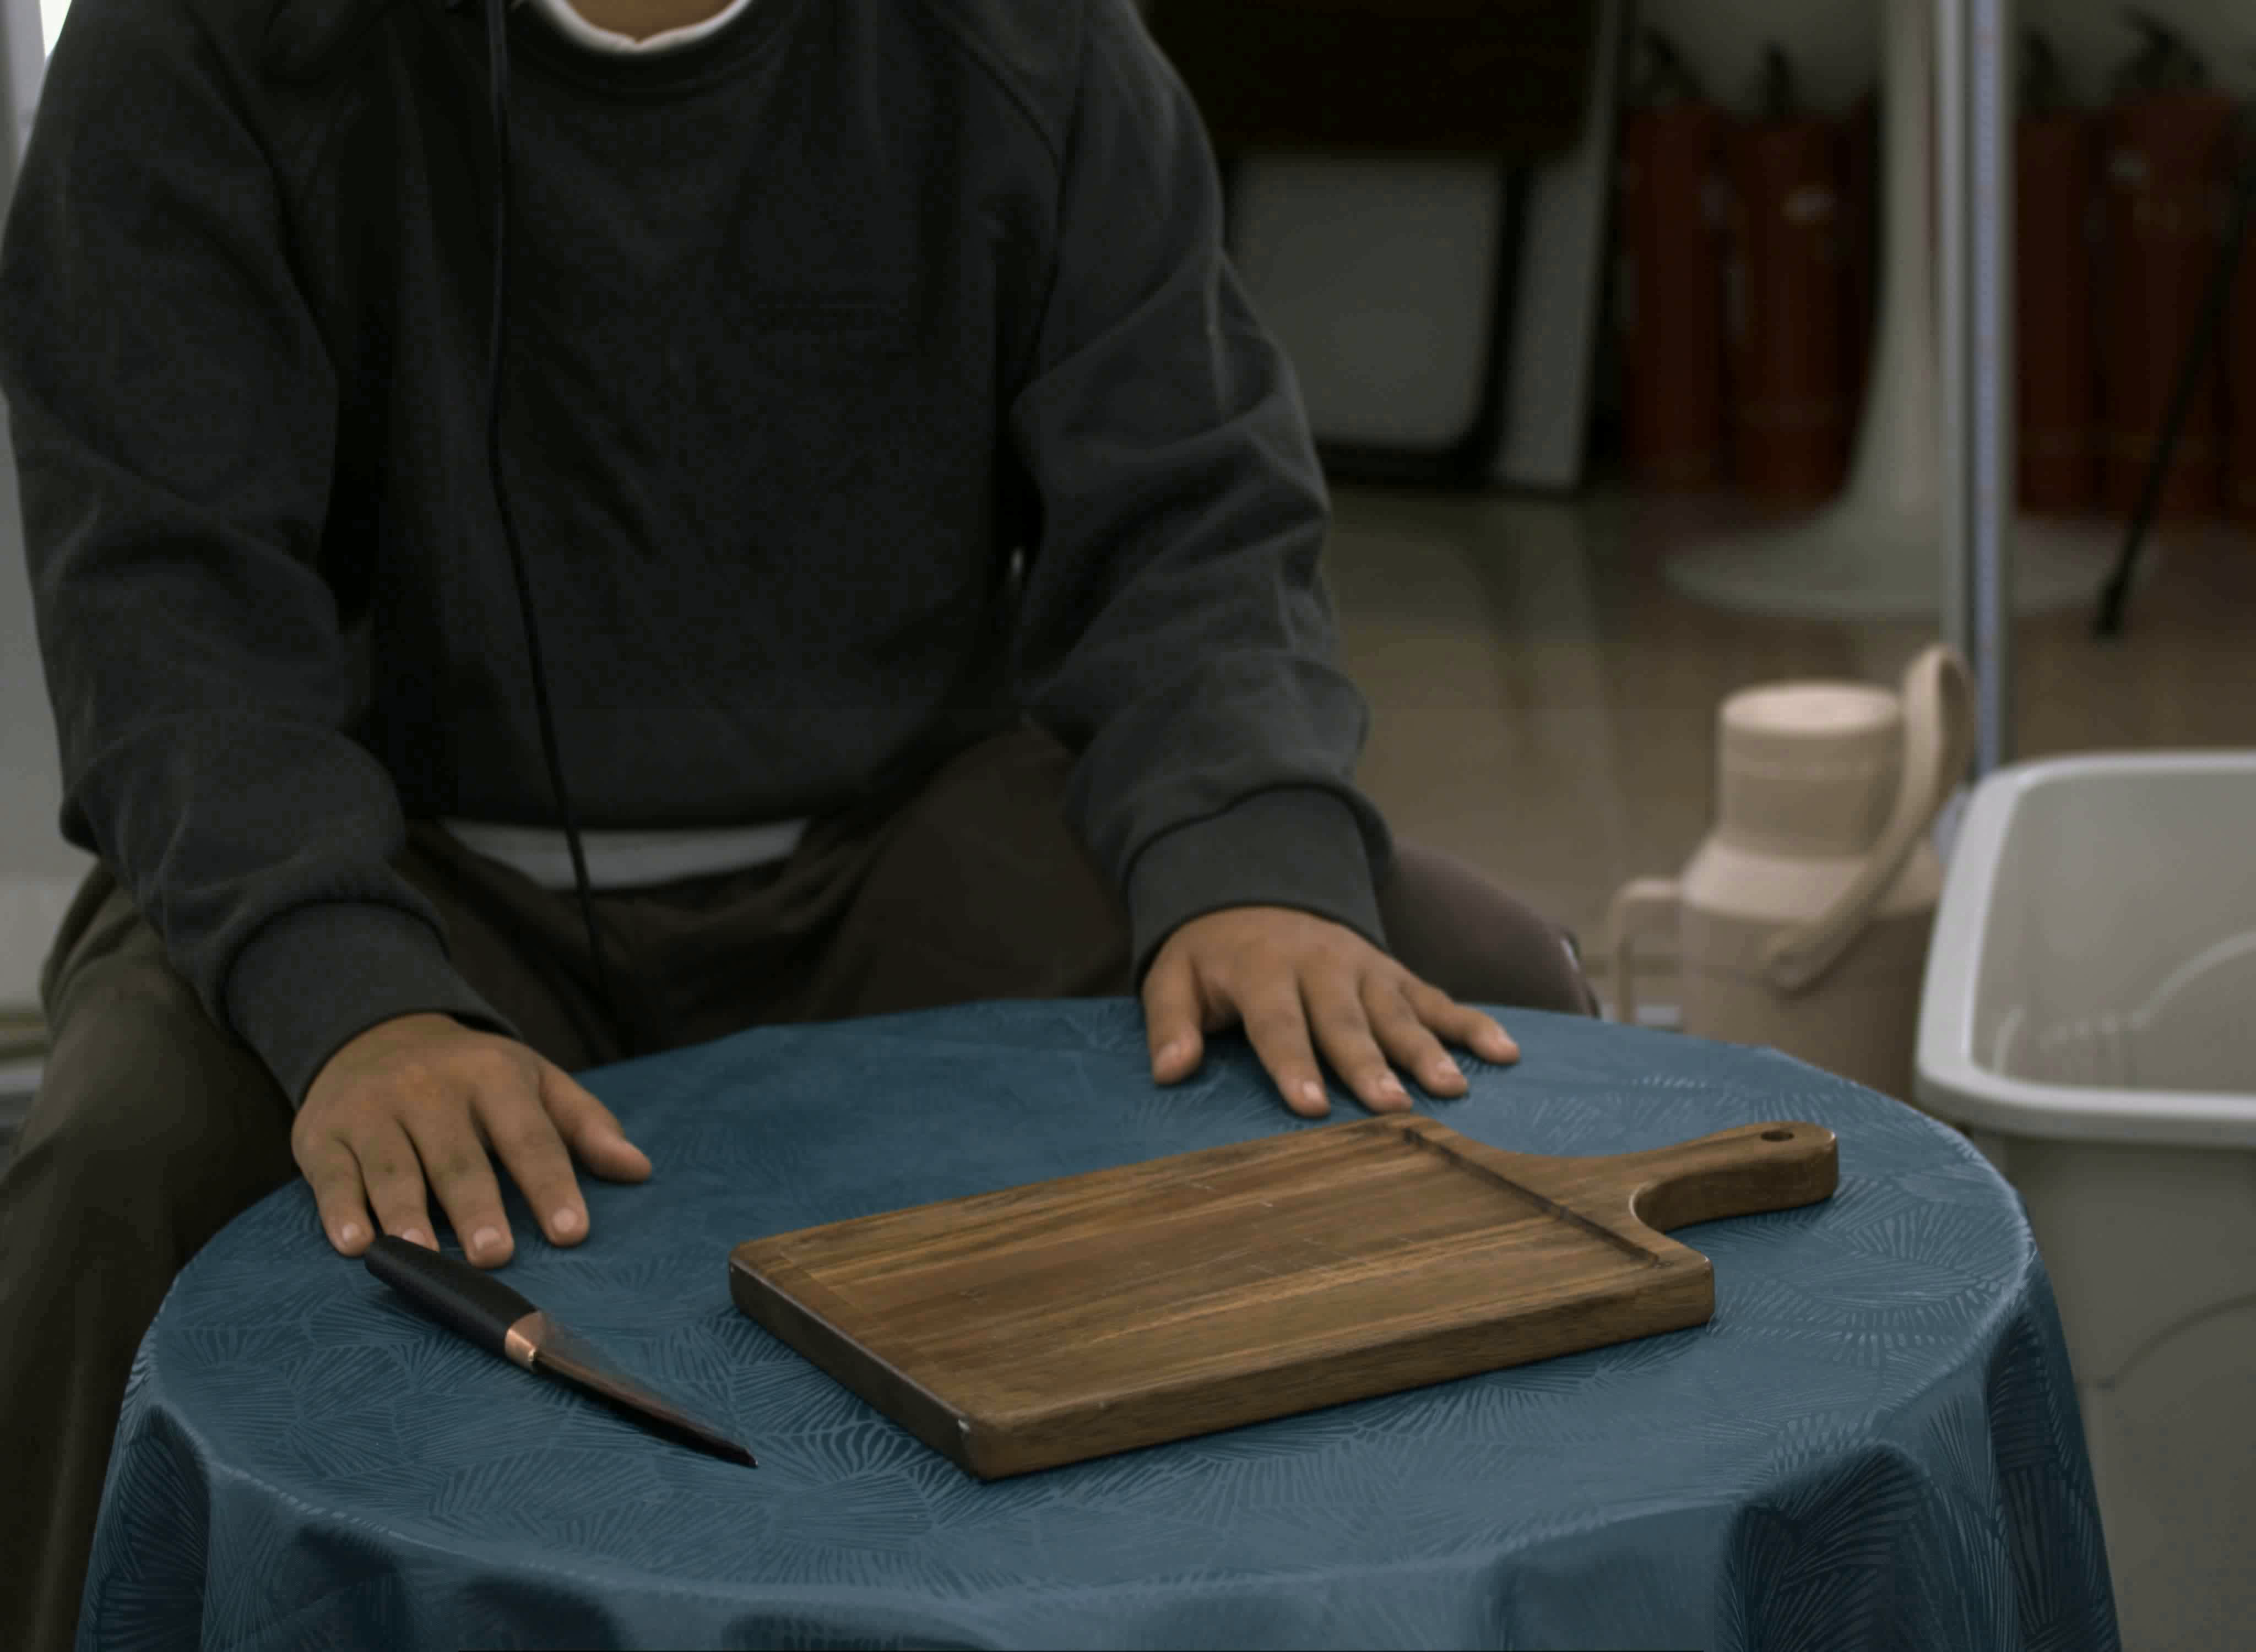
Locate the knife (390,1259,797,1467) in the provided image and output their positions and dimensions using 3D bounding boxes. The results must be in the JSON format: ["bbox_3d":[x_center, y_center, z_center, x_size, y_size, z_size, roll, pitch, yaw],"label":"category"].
[{"bbox_3d":[-0.164,0.163,1.632,0.025,0.017,0.228,-5,13,-34],"label":"knife"}]

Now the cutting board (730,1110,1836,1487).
[{"bbox_3d":[0.071,0.132,1.666,0.344,0.023,0.203,-10,15,-24],"label":"cutting board"}]
